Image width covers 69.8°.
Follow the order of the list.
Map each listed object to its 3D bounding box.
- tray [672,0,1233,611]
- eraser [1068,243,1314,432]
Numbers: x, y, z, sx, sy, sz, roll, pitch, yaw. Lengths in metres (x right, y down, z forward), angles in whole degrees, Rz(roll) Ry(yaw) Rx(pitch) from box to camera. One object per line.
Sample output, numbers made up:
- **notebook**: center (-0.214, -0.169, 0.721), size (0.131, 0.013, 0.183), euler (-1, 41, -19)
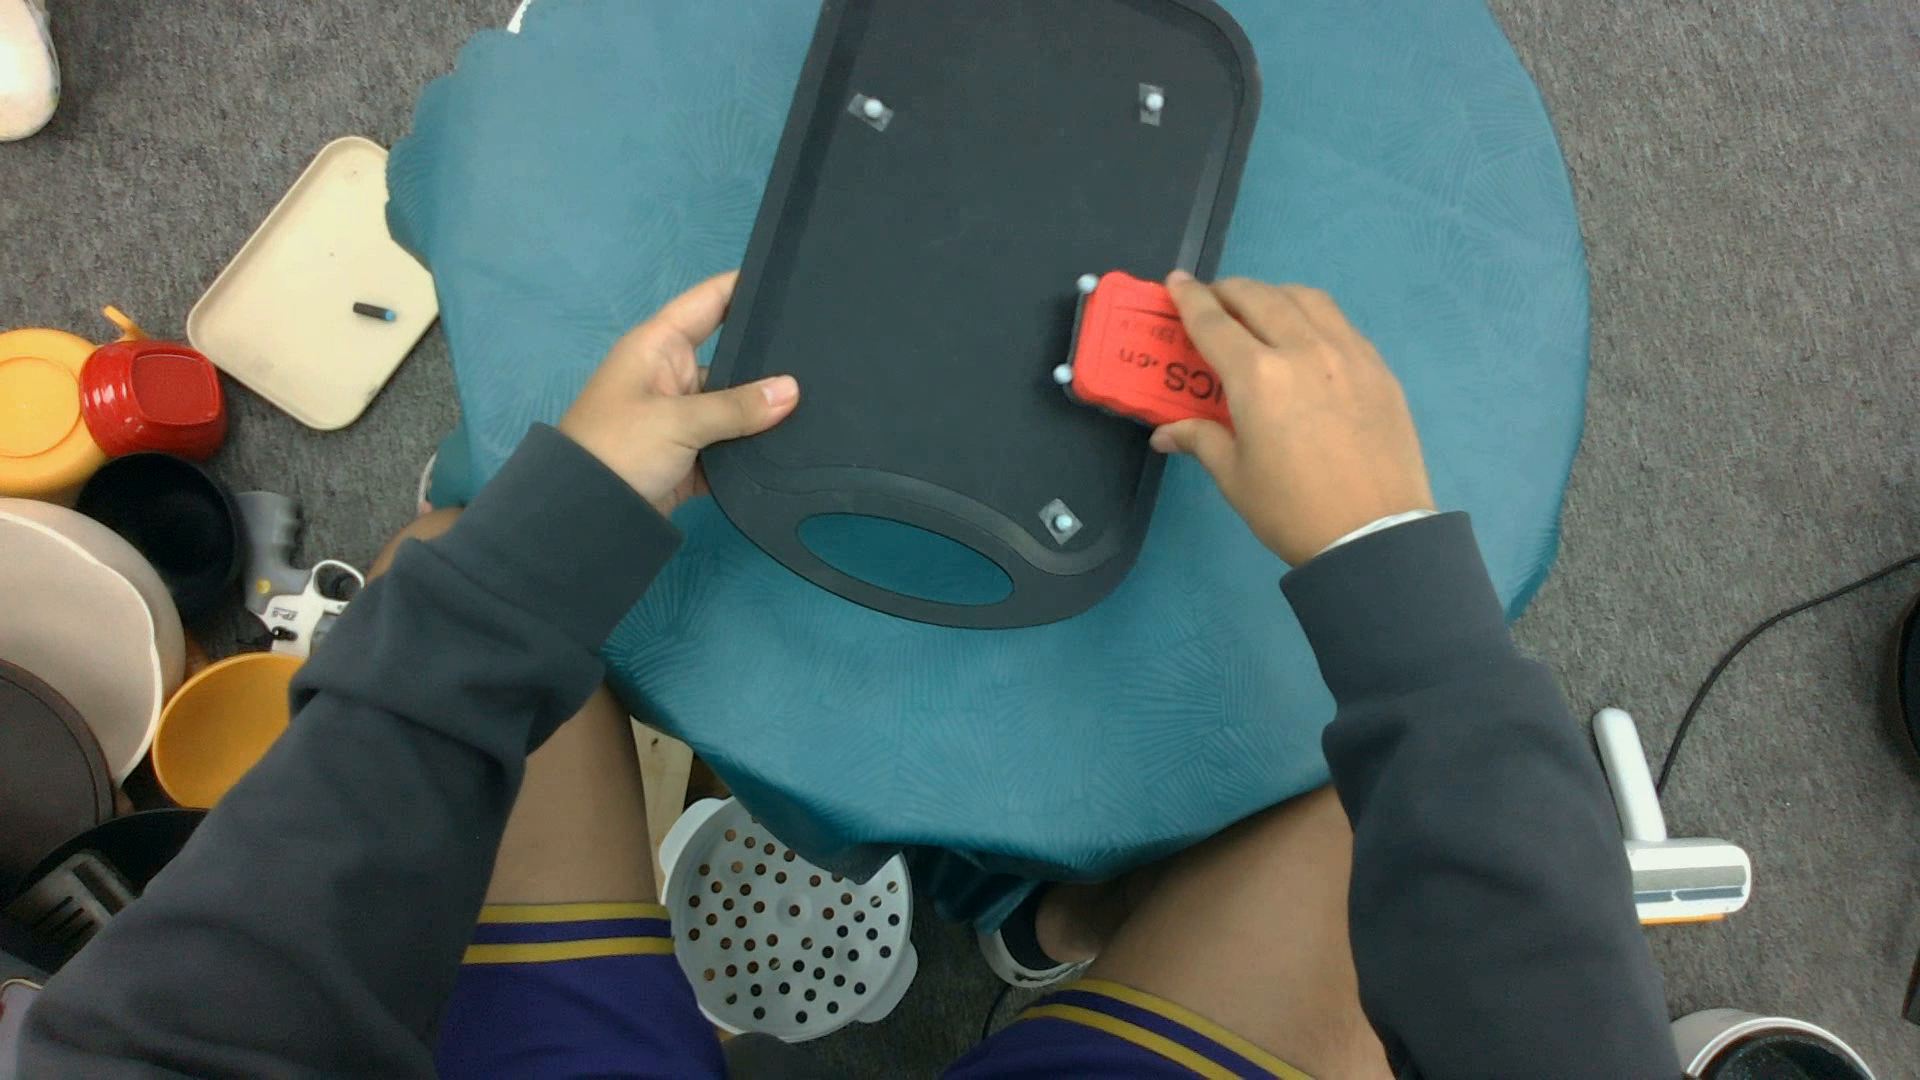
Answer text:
- **tray**: center (0.003, -0.131, 0.617), size (0.211, 0.010, 0.326), euler (17, 82, -15)
- **eraser**: center (0.105, -0.090, 0.622), size (0.108, 0.023, 0.059), euler (17, 82, -17)
